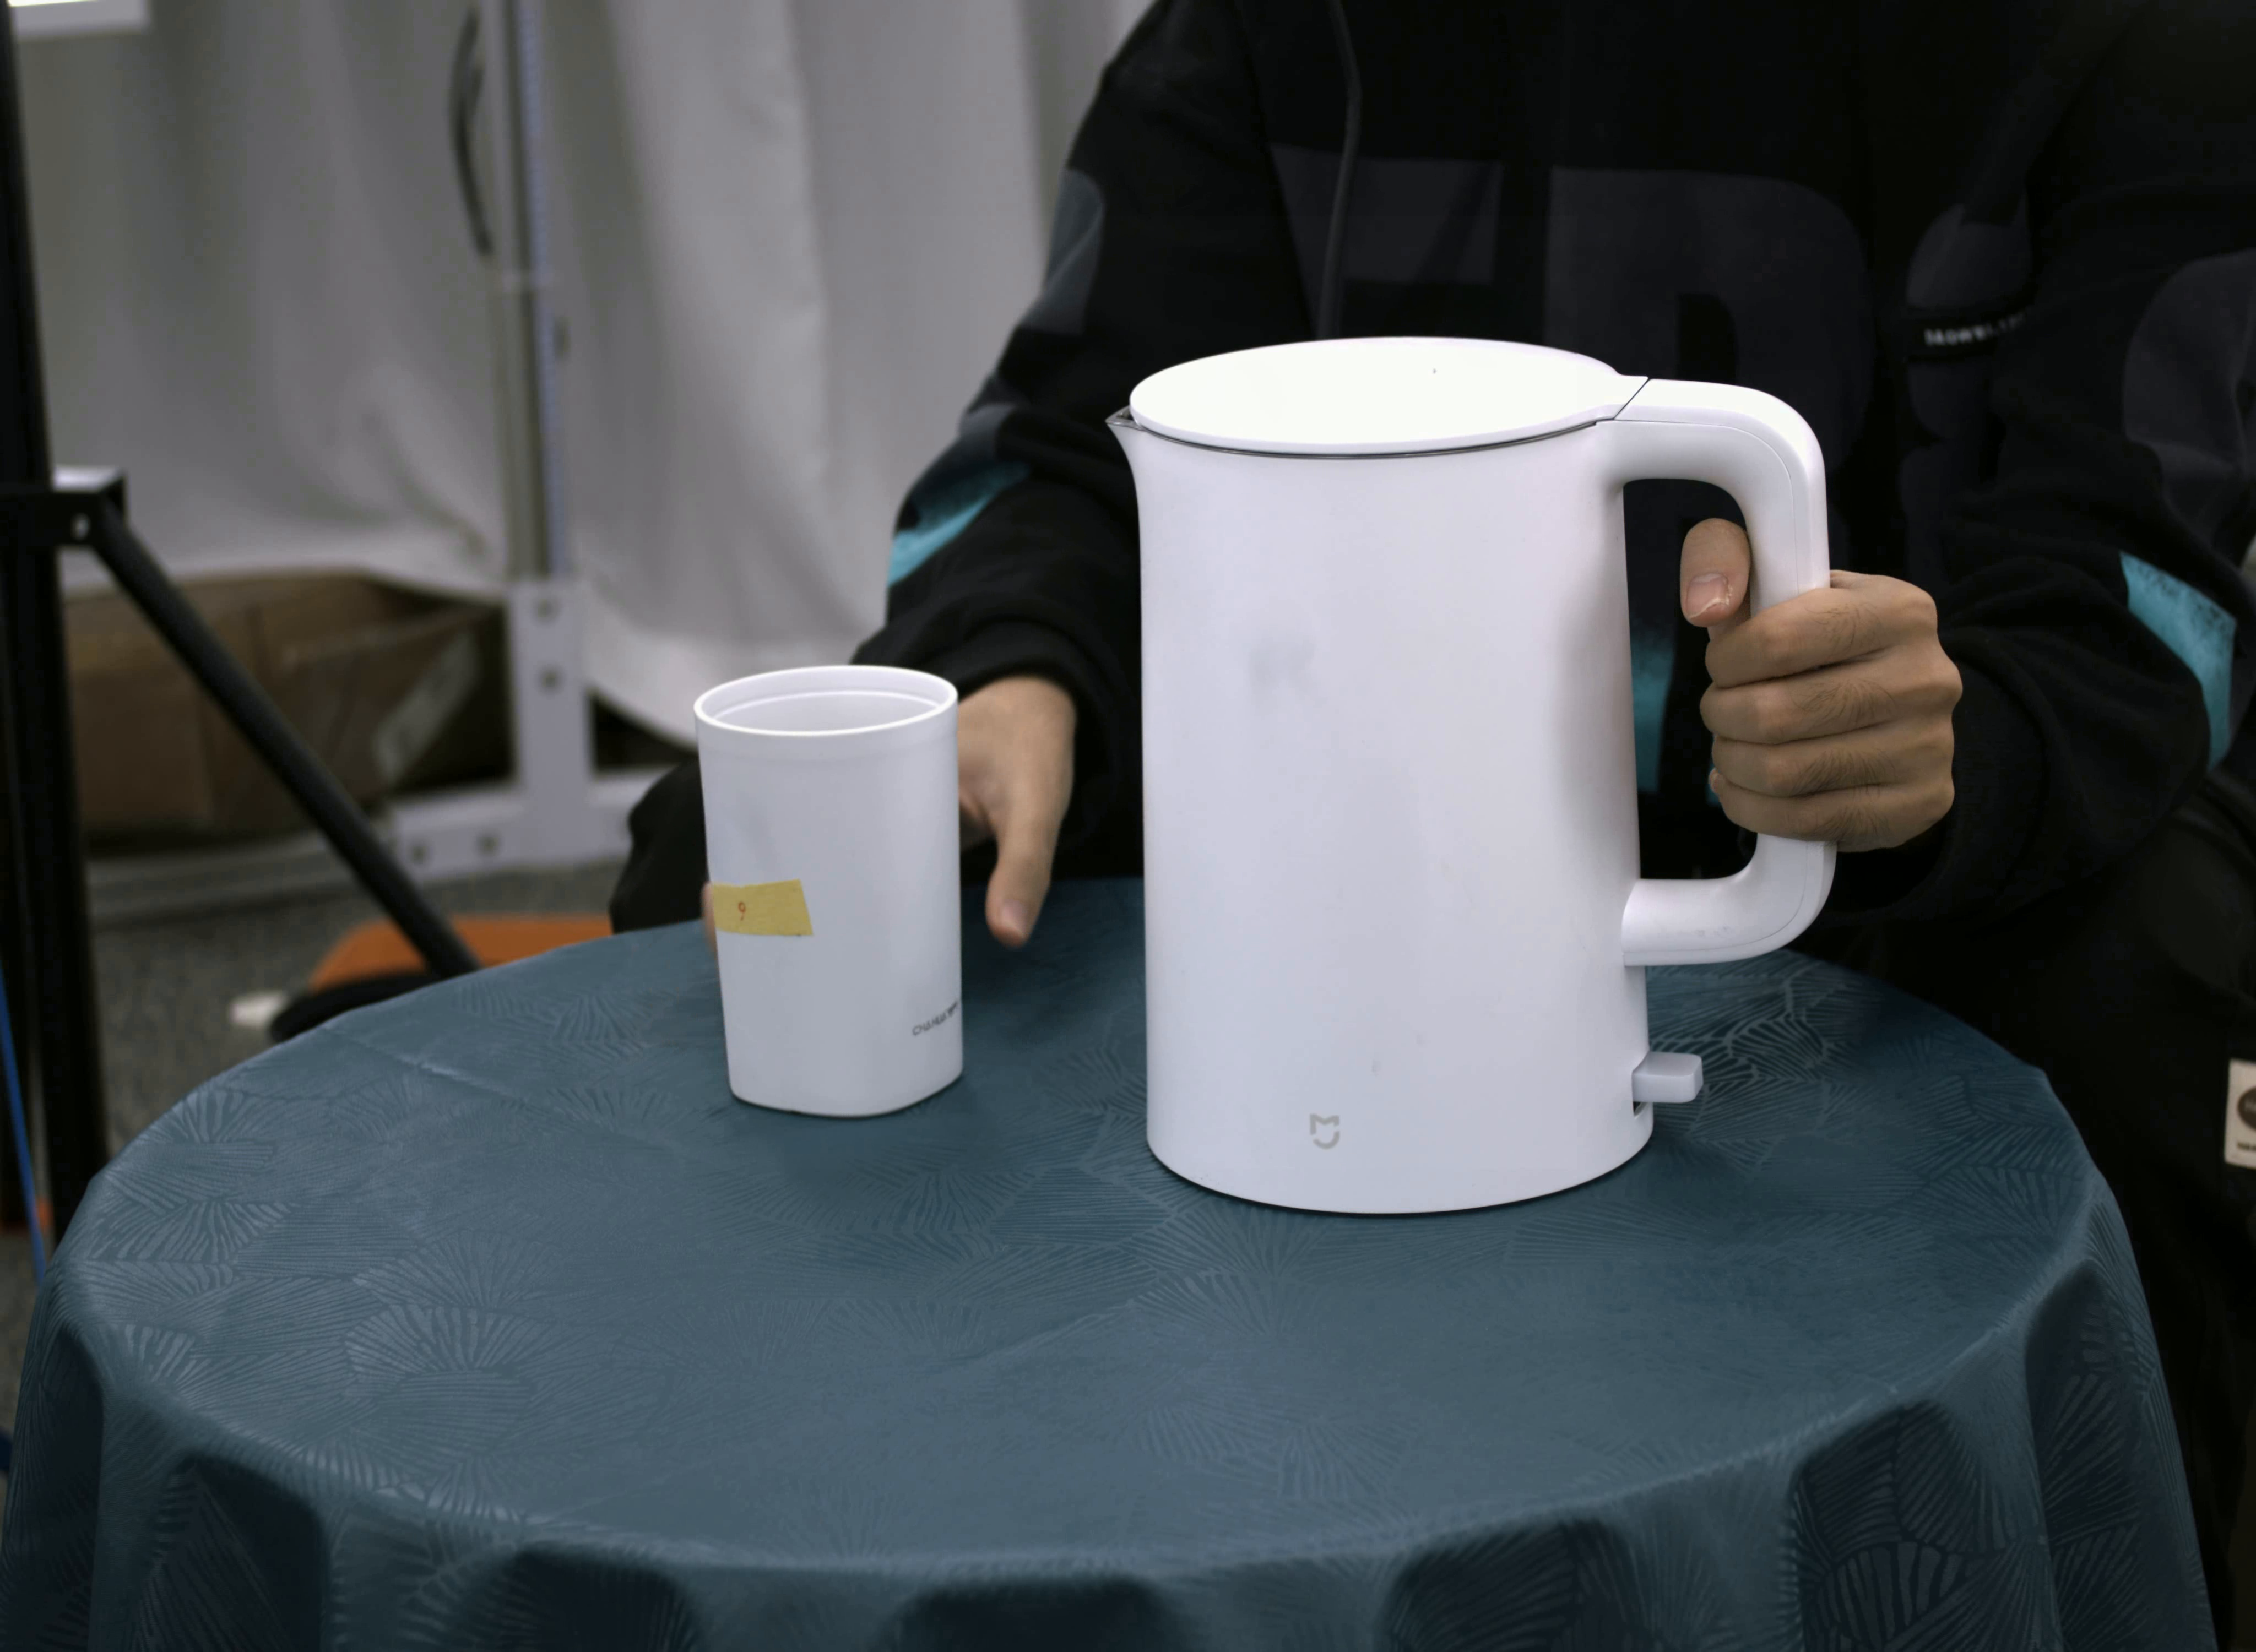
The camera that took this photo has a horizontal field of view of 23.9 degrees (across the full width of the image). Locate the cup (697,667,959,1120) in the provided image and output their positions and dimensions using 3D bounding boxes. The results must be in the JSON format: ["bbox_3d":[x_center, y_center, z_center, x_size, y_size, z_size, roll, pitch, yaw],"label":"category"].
[{"bbox_3d":[-0.090,0.021,1.652,0.081,0.125,0.082,-2,15,-1],"label":"cup"}]

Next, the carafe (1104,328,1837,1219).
[{"bbox_3d":[0.101,-0.017,1.556,0.215,0.240,0.150,2,17,18],"label":"carafe"}]
